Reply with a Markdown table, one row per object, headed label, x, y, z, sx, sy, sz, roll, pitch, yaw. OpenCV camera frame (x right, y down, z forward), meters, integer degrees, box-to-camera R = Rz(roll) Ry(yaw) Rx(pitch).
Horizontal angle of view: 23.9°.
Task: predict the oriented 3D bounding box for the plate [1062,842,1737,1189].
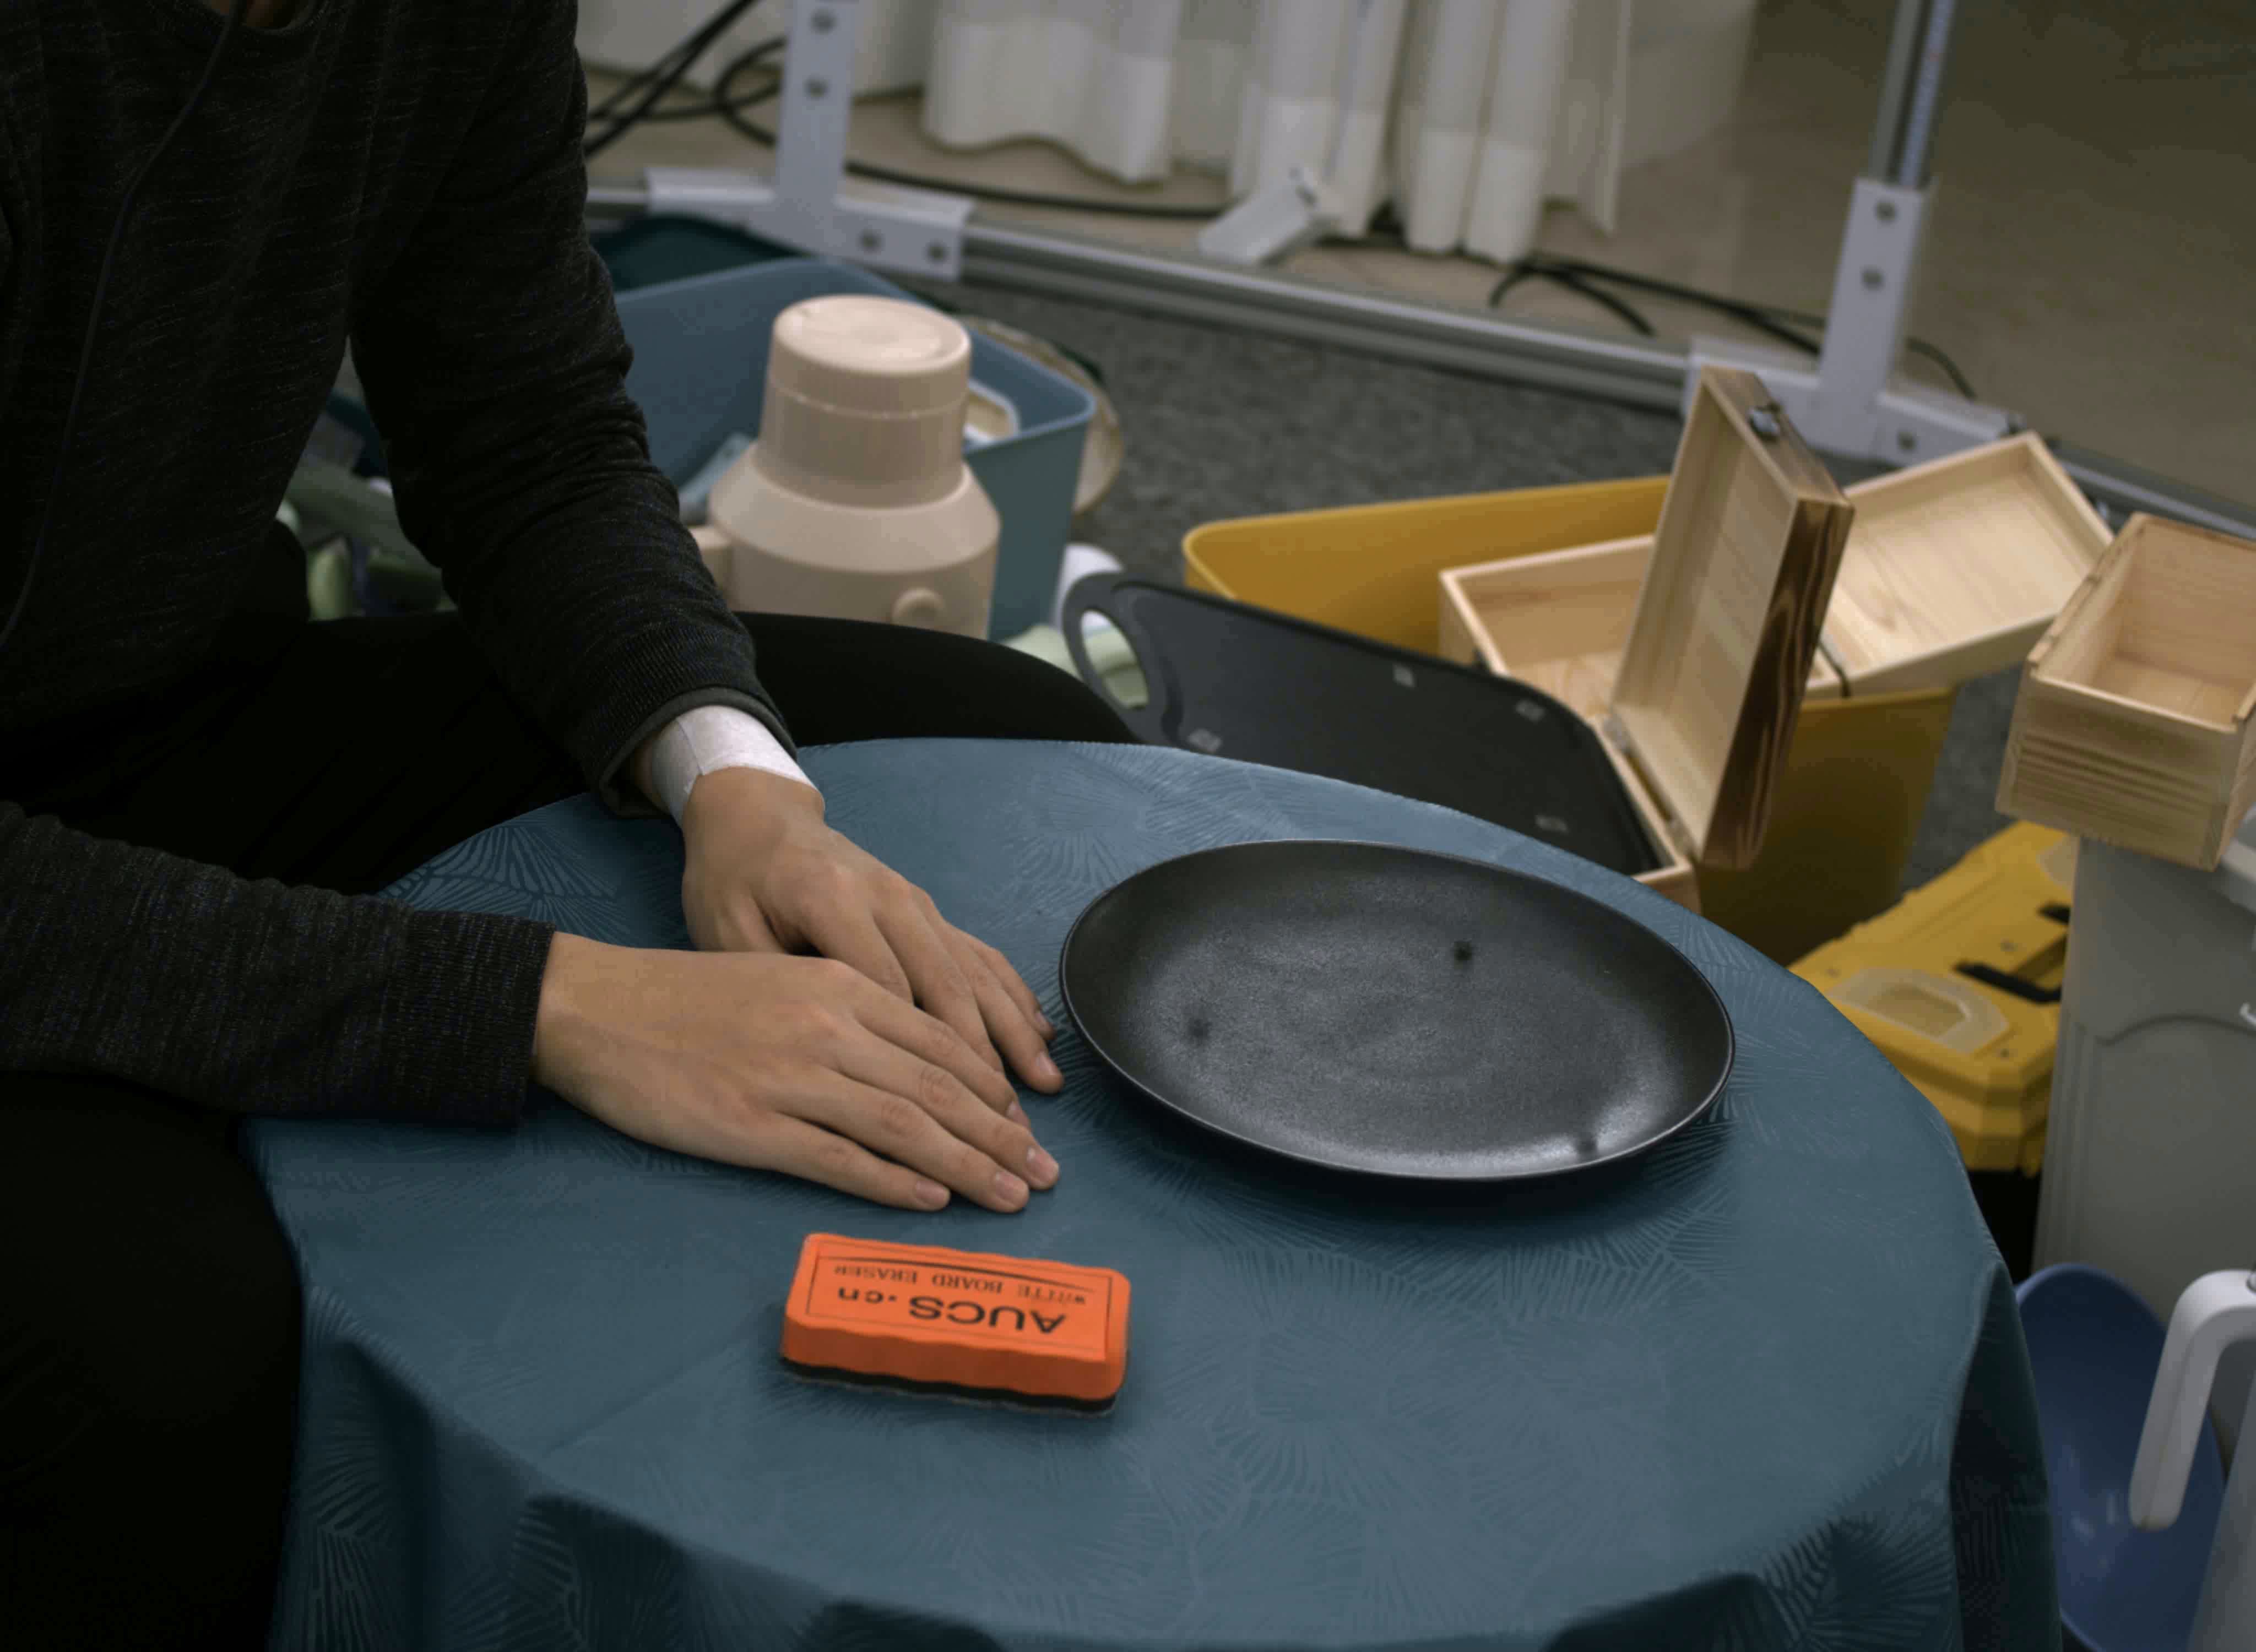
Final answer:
| label | x | y | z | sx | sy | sz | roll | pitch | yaw |
| --- | --- | --- | --- | --- | --- | --- | --- | --- | --- |
| plate | 0.096 | 0.071 | 1.901 | 0.243 | 0.023 | 0.246 | 5 | 27 | -3 |

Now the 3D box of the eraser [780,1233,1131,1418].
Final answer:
| label | x | y | z | sx | sy | sz | roll | pitch | yaw |
| --- | --- | --- | --- | --- | --- | --- | --- | --- | --- |
| eraser | -0.055 | 0.159 | 1.694 | 0.108 | 0.023 | 0.059 | 8 | 25 | 2 |
